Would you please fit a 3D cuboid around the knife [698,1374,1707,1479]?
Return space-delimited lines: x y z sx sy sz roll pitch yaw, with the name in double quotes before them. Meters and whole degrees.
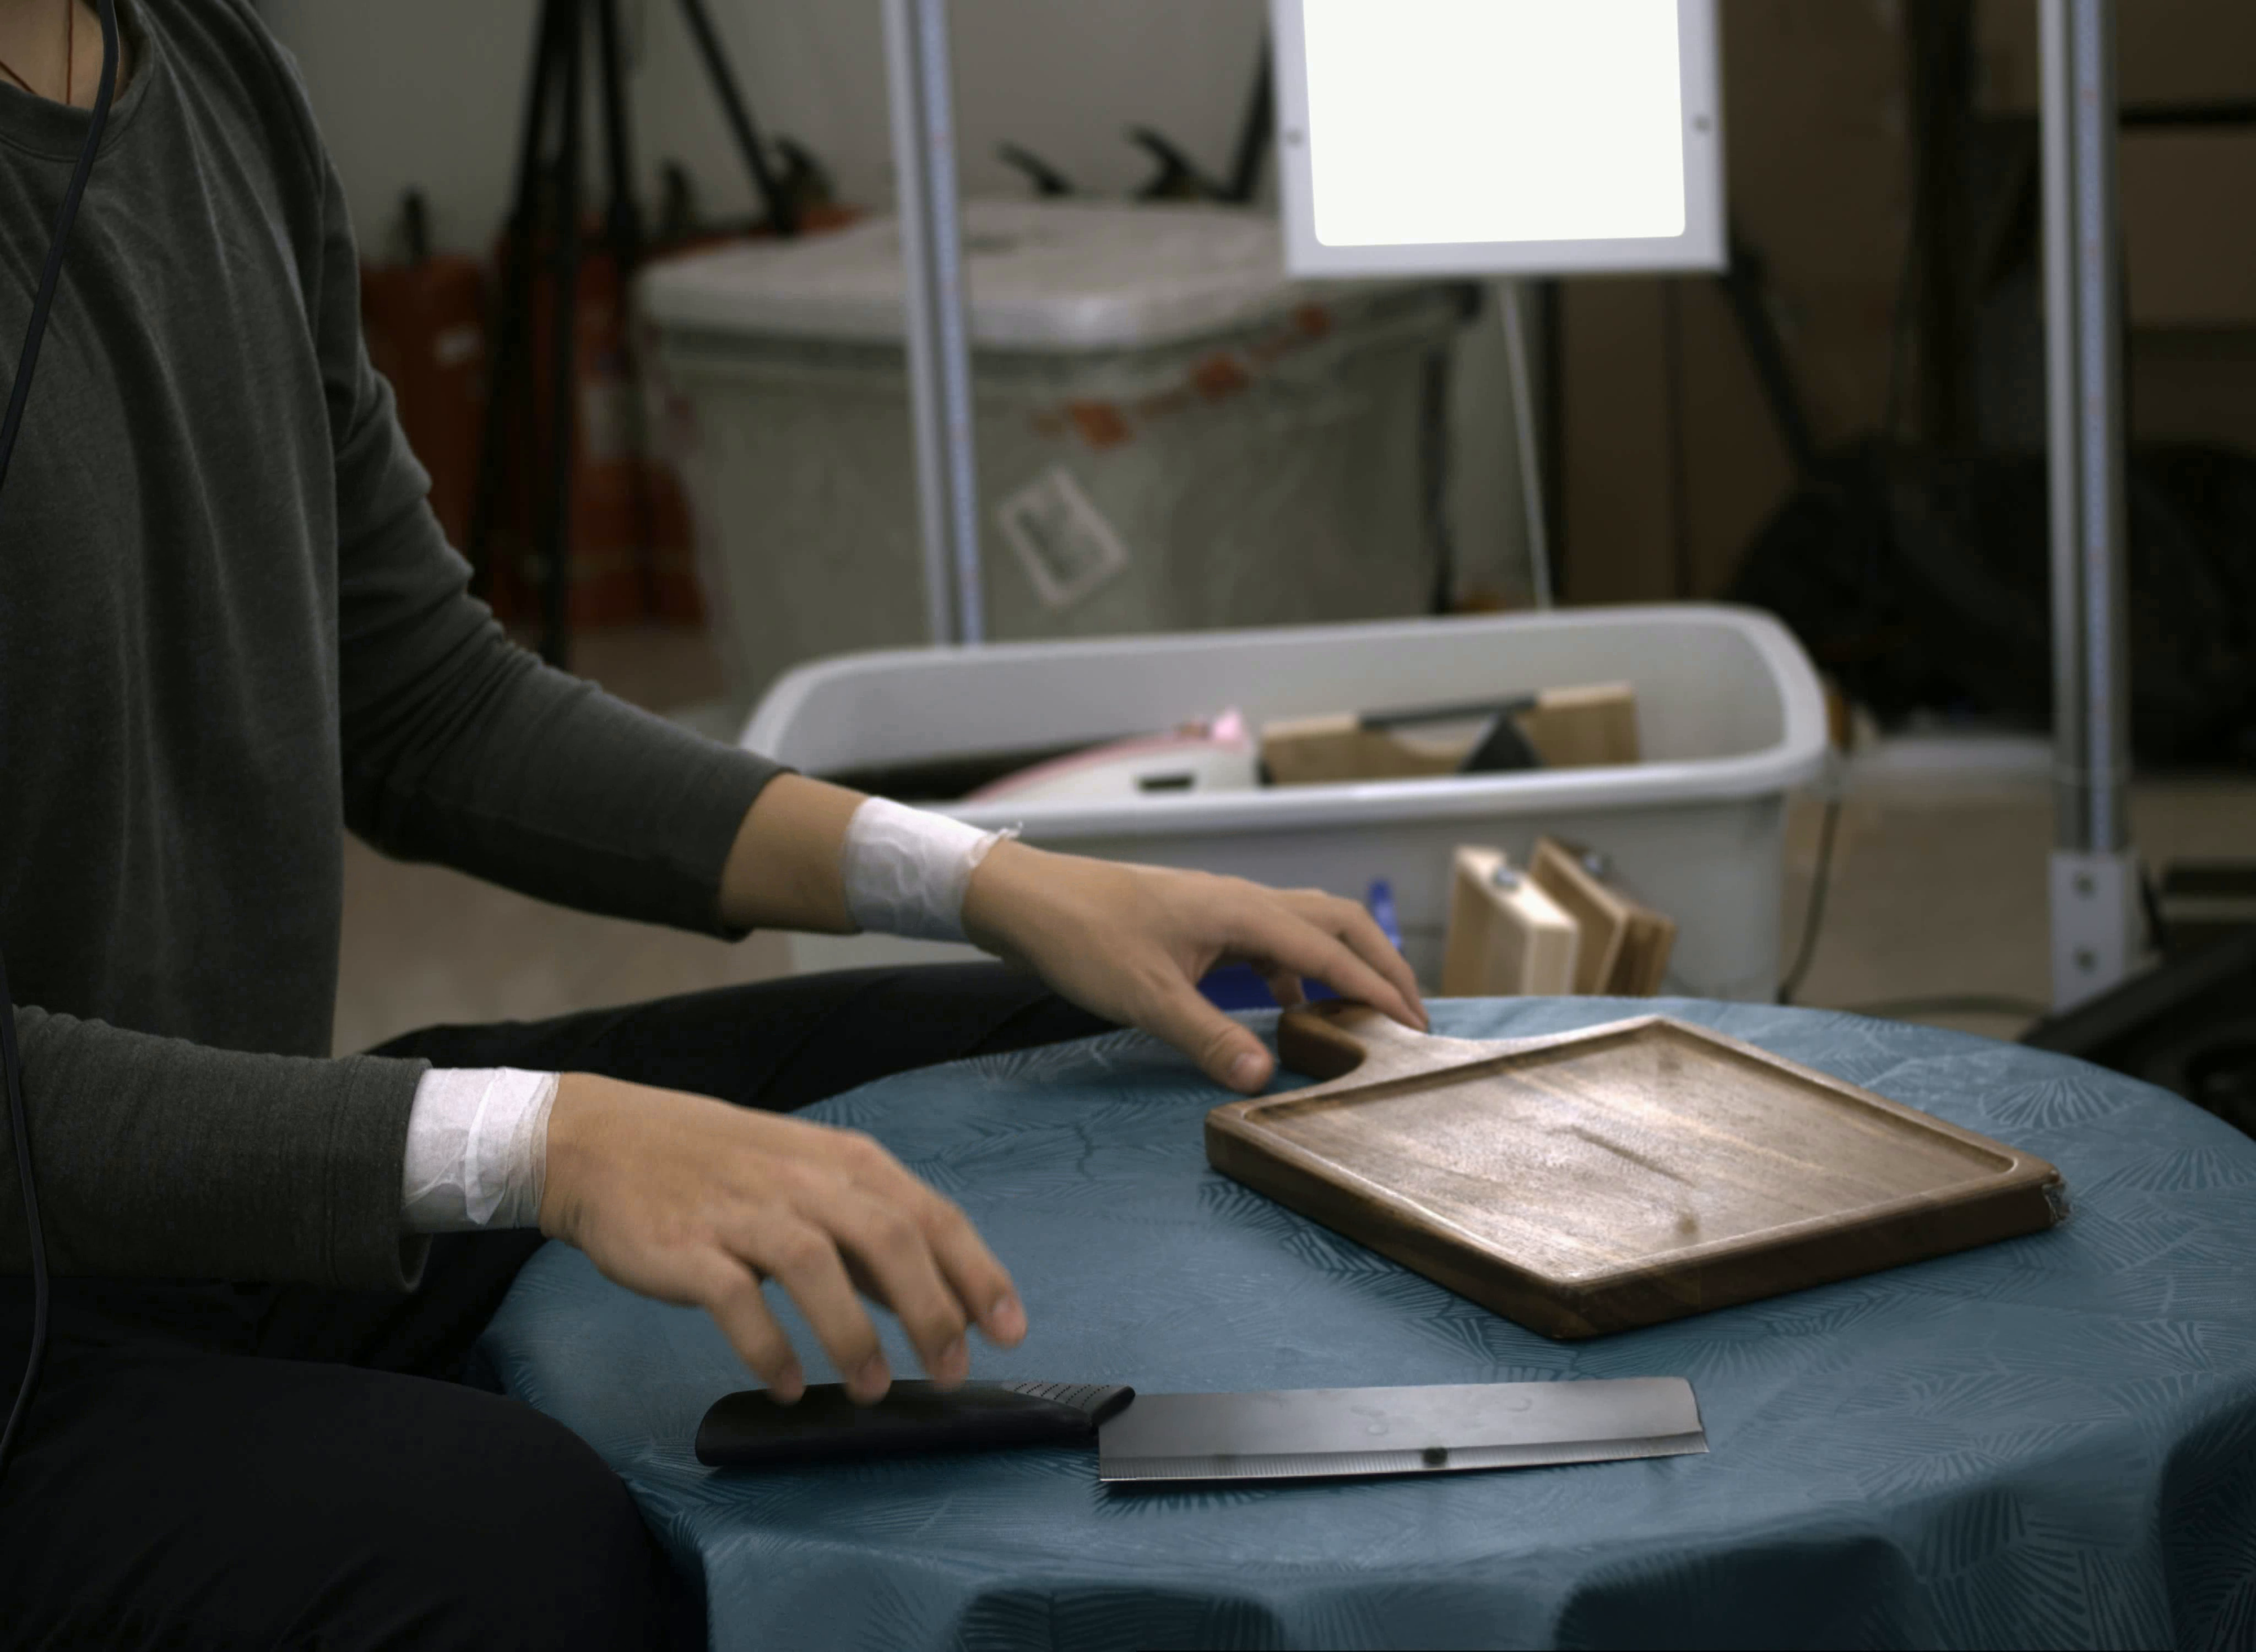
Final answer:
"knife" 0.022 0.180 1.646 0.303 0.021 0.080 -2 15 7

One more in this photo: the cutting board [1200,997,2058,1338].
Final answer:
"cutting board" 0.144 0.104 1.895 0.197 0.023 0.358 -11 15 -24
